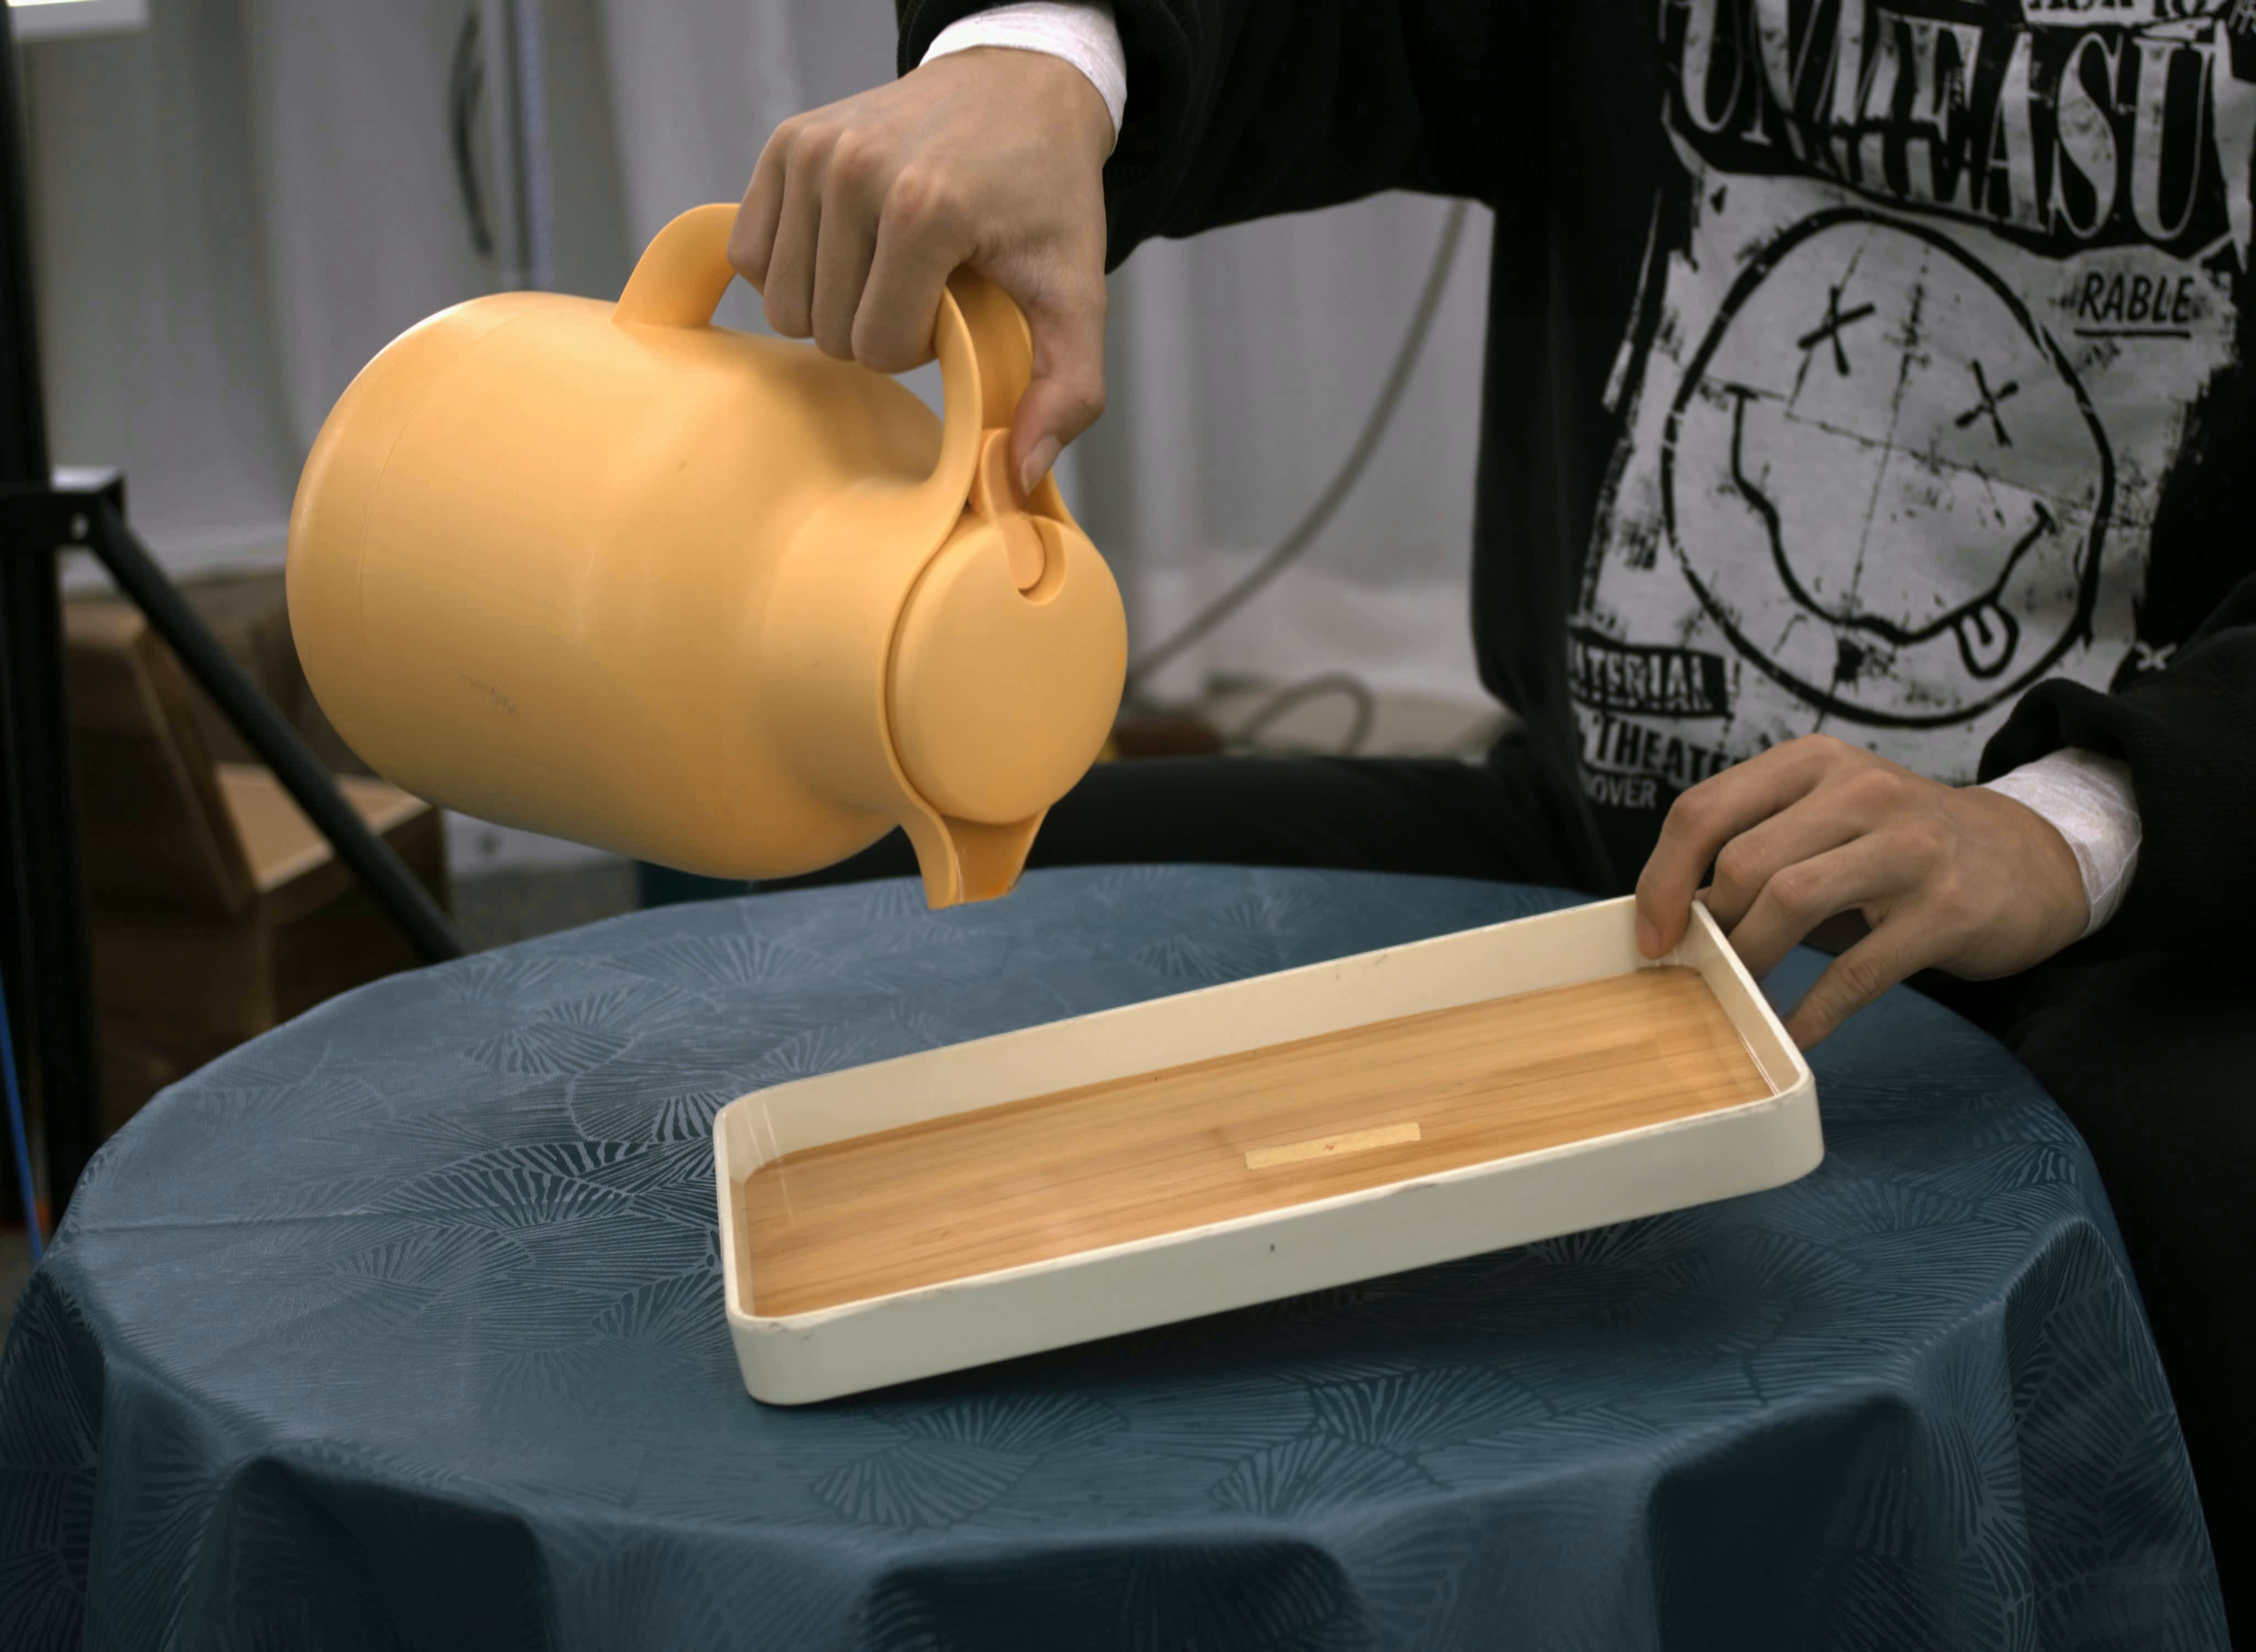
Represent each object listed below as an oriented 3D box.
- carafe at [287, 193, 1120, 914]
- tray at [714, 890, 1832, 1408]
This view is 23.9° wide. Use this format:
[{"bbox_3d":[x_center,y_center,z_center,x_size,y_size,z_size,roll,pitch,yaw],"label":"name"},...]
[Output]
[{"bbox_3d":[-0.116,-0.087,1.579,0.266,0.203,0.159,16,13,42],"label":"carafe"},{"bbox_3d":[0.034,0.087,1.486,0.299,0.027,0.193,-12,18,0],"label":"tray"}]
